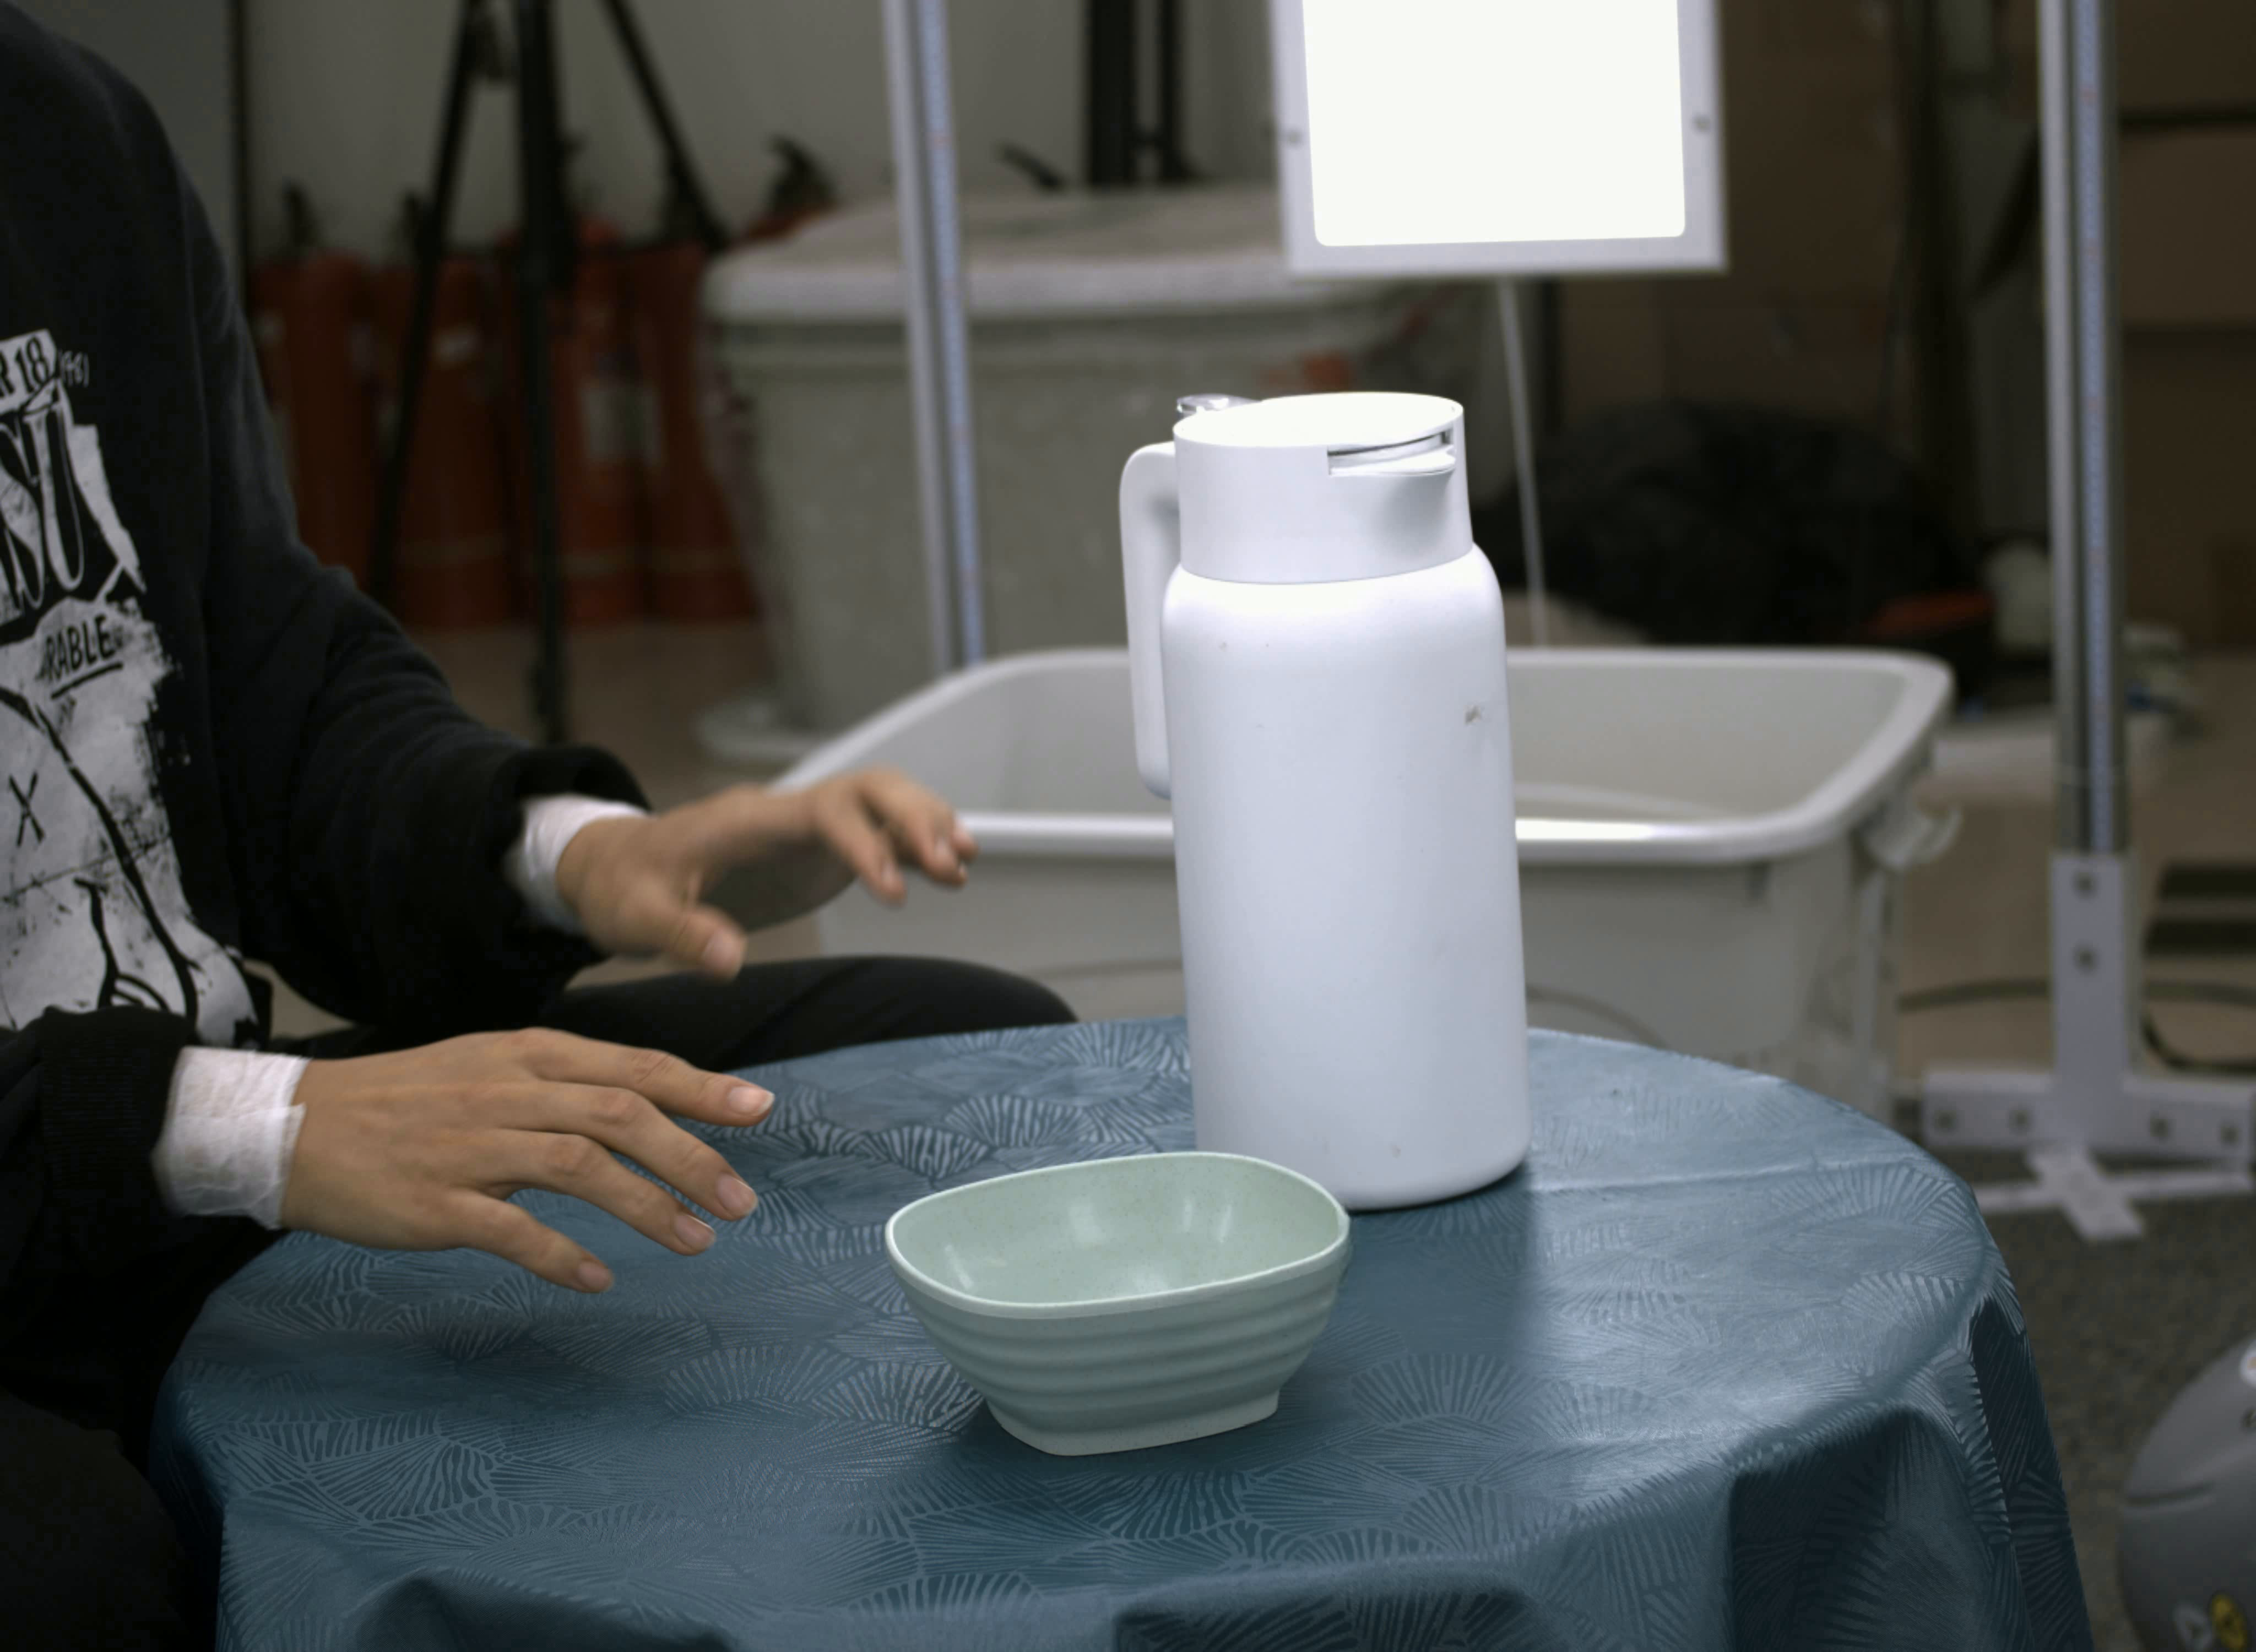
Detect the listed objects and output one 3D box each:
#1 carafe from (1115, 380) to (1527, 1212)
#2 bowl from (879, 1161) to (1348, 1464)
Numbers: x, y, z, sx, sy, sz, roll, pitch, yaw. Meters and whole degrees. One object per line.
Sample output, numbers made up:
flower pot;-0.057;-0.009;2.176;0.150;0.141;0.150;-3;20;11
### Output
carafe;0.061;-0.013;1.882;0.121;0.270;0.176;-16;18;-32
bowl;-0.003;0.152;1.687;0.151;0.059;0.151;-5;14;0
